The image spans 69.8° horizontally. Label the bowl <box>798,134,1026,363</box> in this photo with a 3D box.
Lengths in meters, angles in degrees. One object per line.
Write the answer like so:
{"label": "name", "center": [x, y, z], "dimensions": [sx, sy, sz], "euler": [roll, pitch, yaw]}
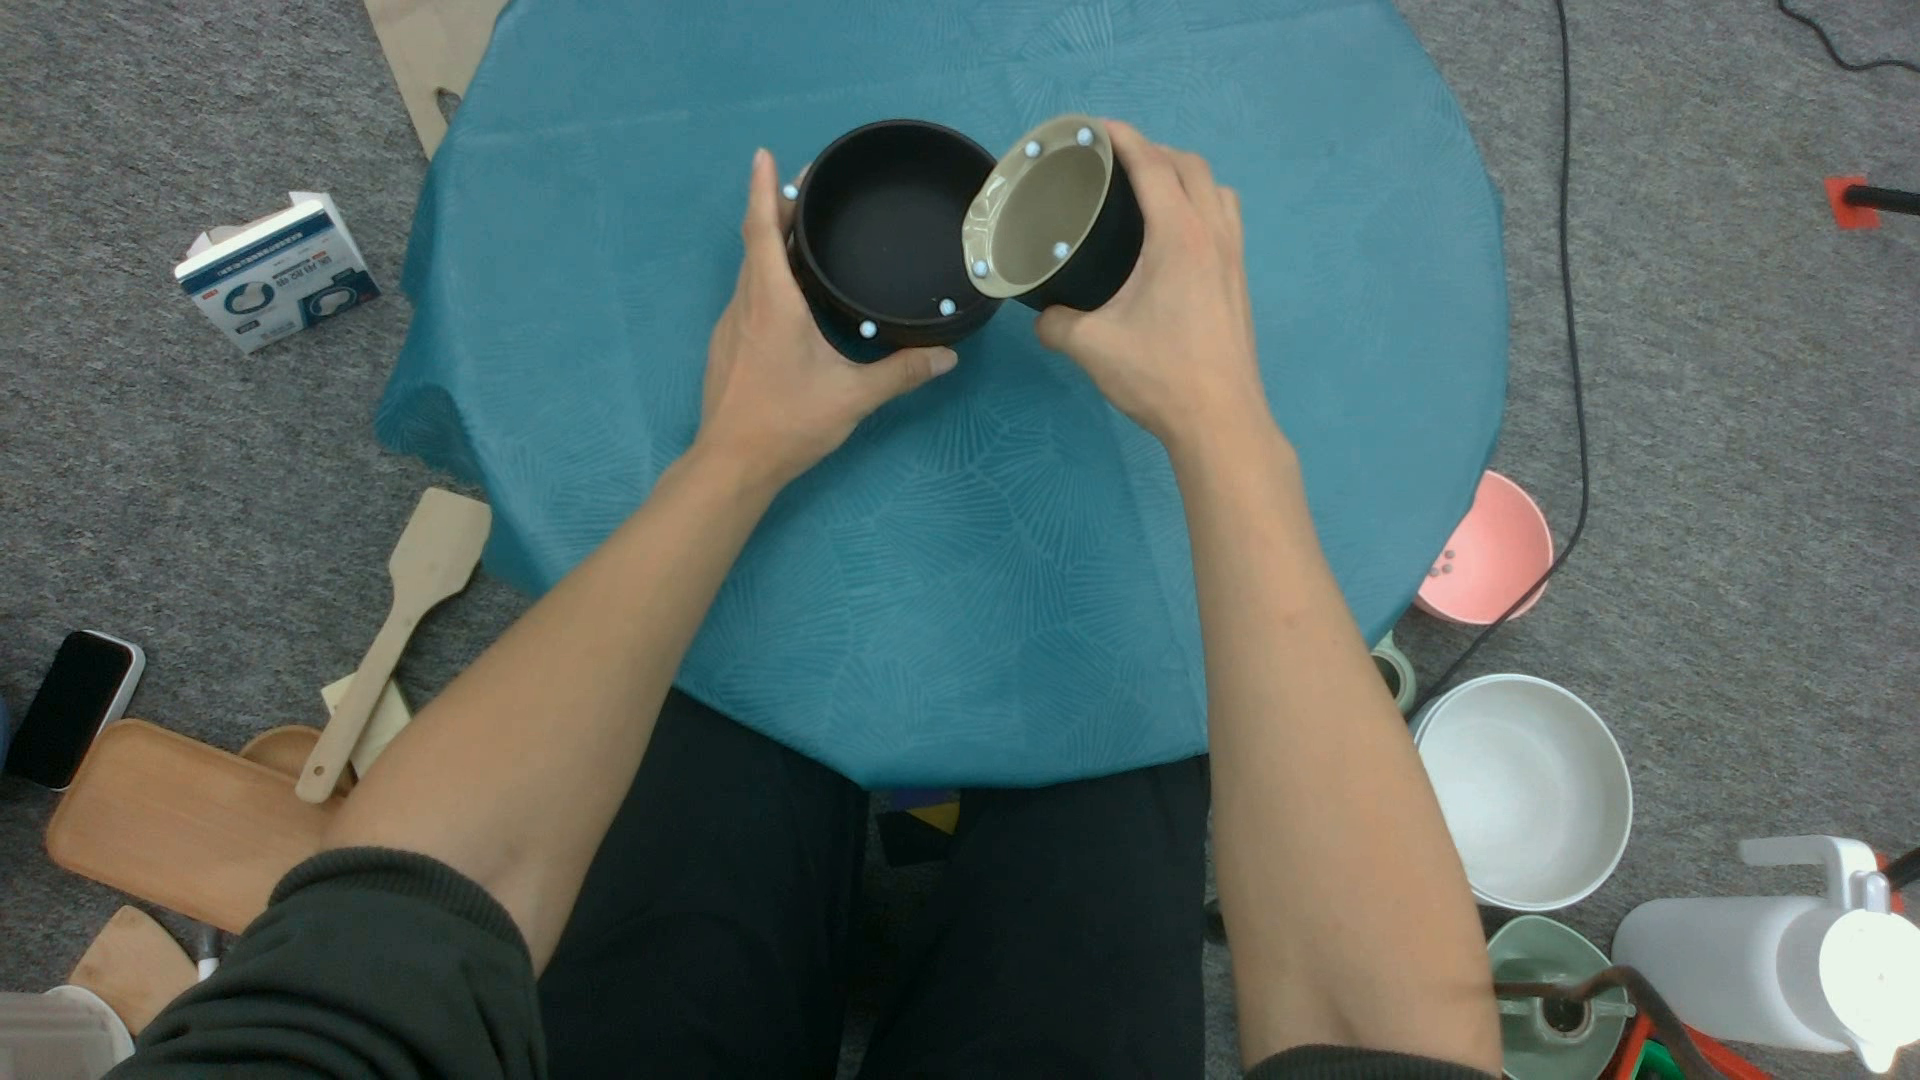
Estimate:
{"label": "bowl", "center": [-0.027, -0.148, 0.735], "dimensions": [0.118, 0.069, 0.118], "euler": [2, 73, -7]}

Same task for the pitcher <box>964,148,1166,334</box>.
{"label": "pitcher", "center": [0.056, -0.141, 0.679], "dimensions": [0.071, 0.096, 0.084], "euler": [21, 85, -39]}
